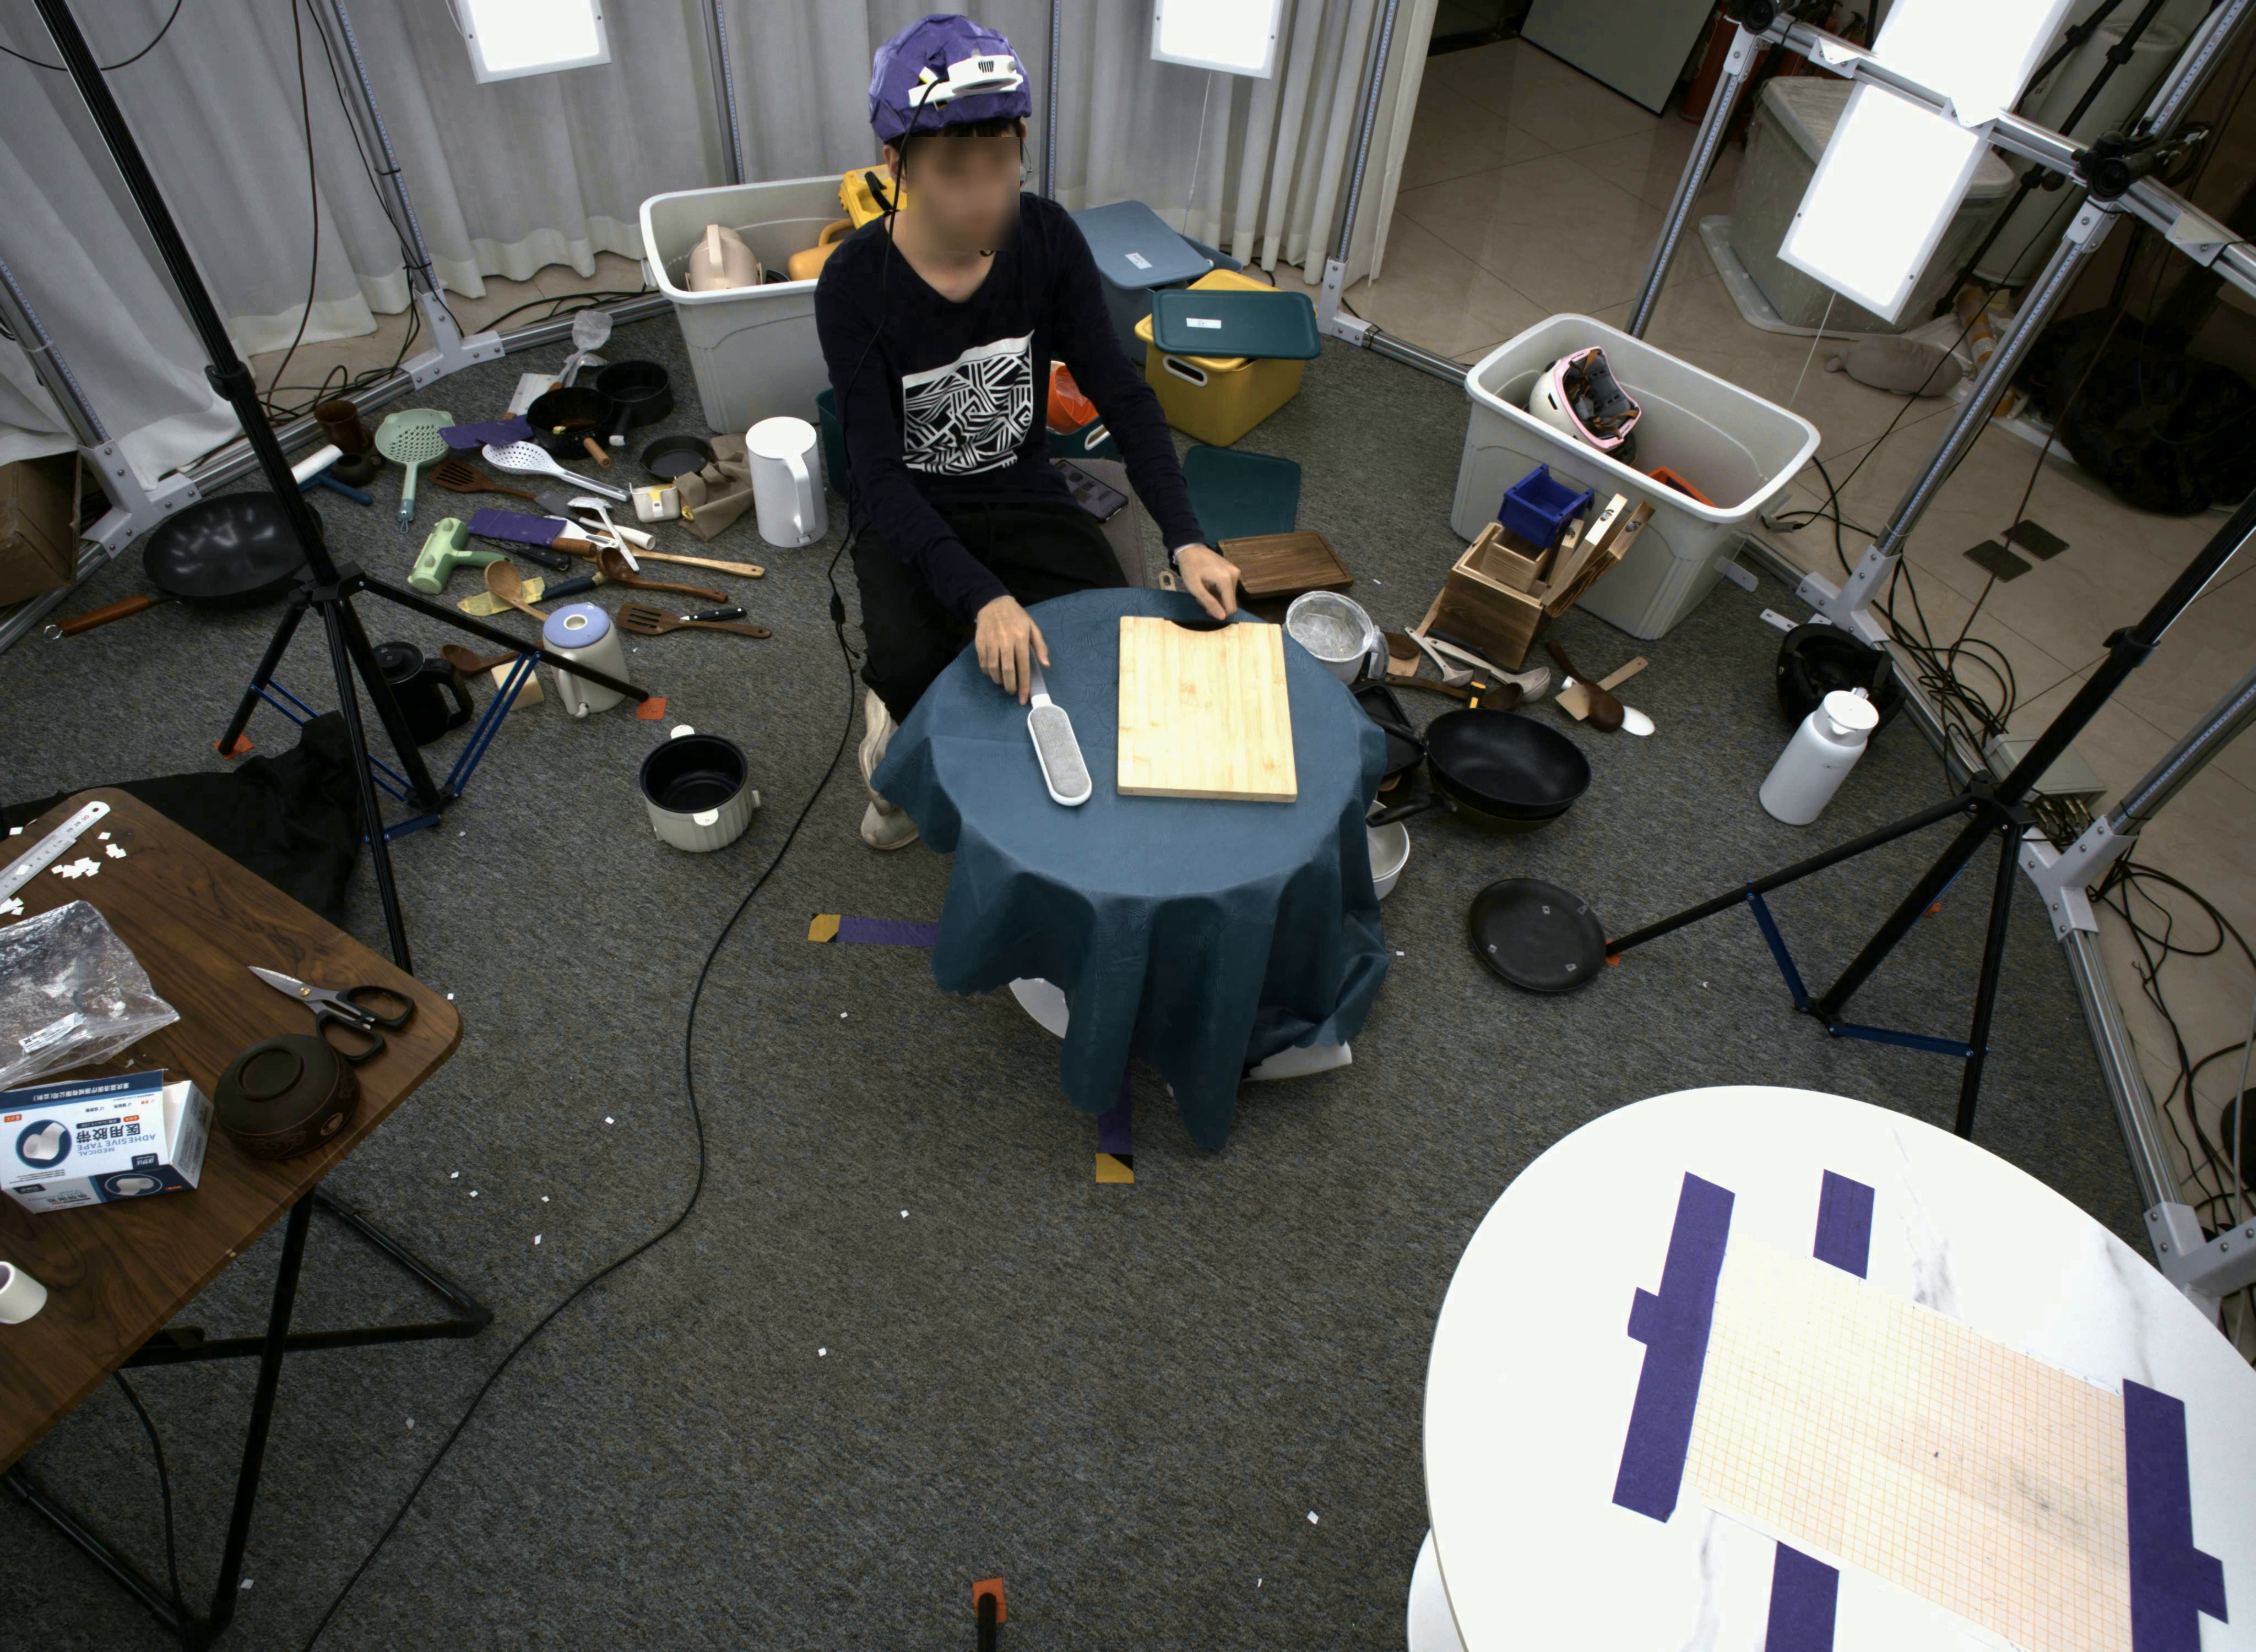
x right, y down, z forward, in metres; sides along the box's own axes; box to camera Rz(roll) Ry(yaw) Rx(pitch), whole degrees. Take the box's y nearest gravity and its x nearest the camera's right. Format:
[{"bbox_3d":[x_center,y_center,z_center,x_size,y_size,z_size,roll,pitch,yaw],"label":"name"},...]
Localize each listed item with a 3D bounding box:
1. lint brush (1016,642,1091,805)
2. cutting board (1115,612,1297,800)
[{"bbox_3d":[-0.110,-0.148,1.770,0.060,0.020,0.316,-13,51,-8],"label":"lint brush"},{"bbox_3d":[0.108,-0.177,1.817,0.250,0.023,0.357,2,49,-3],"label":"cutting board"}]
